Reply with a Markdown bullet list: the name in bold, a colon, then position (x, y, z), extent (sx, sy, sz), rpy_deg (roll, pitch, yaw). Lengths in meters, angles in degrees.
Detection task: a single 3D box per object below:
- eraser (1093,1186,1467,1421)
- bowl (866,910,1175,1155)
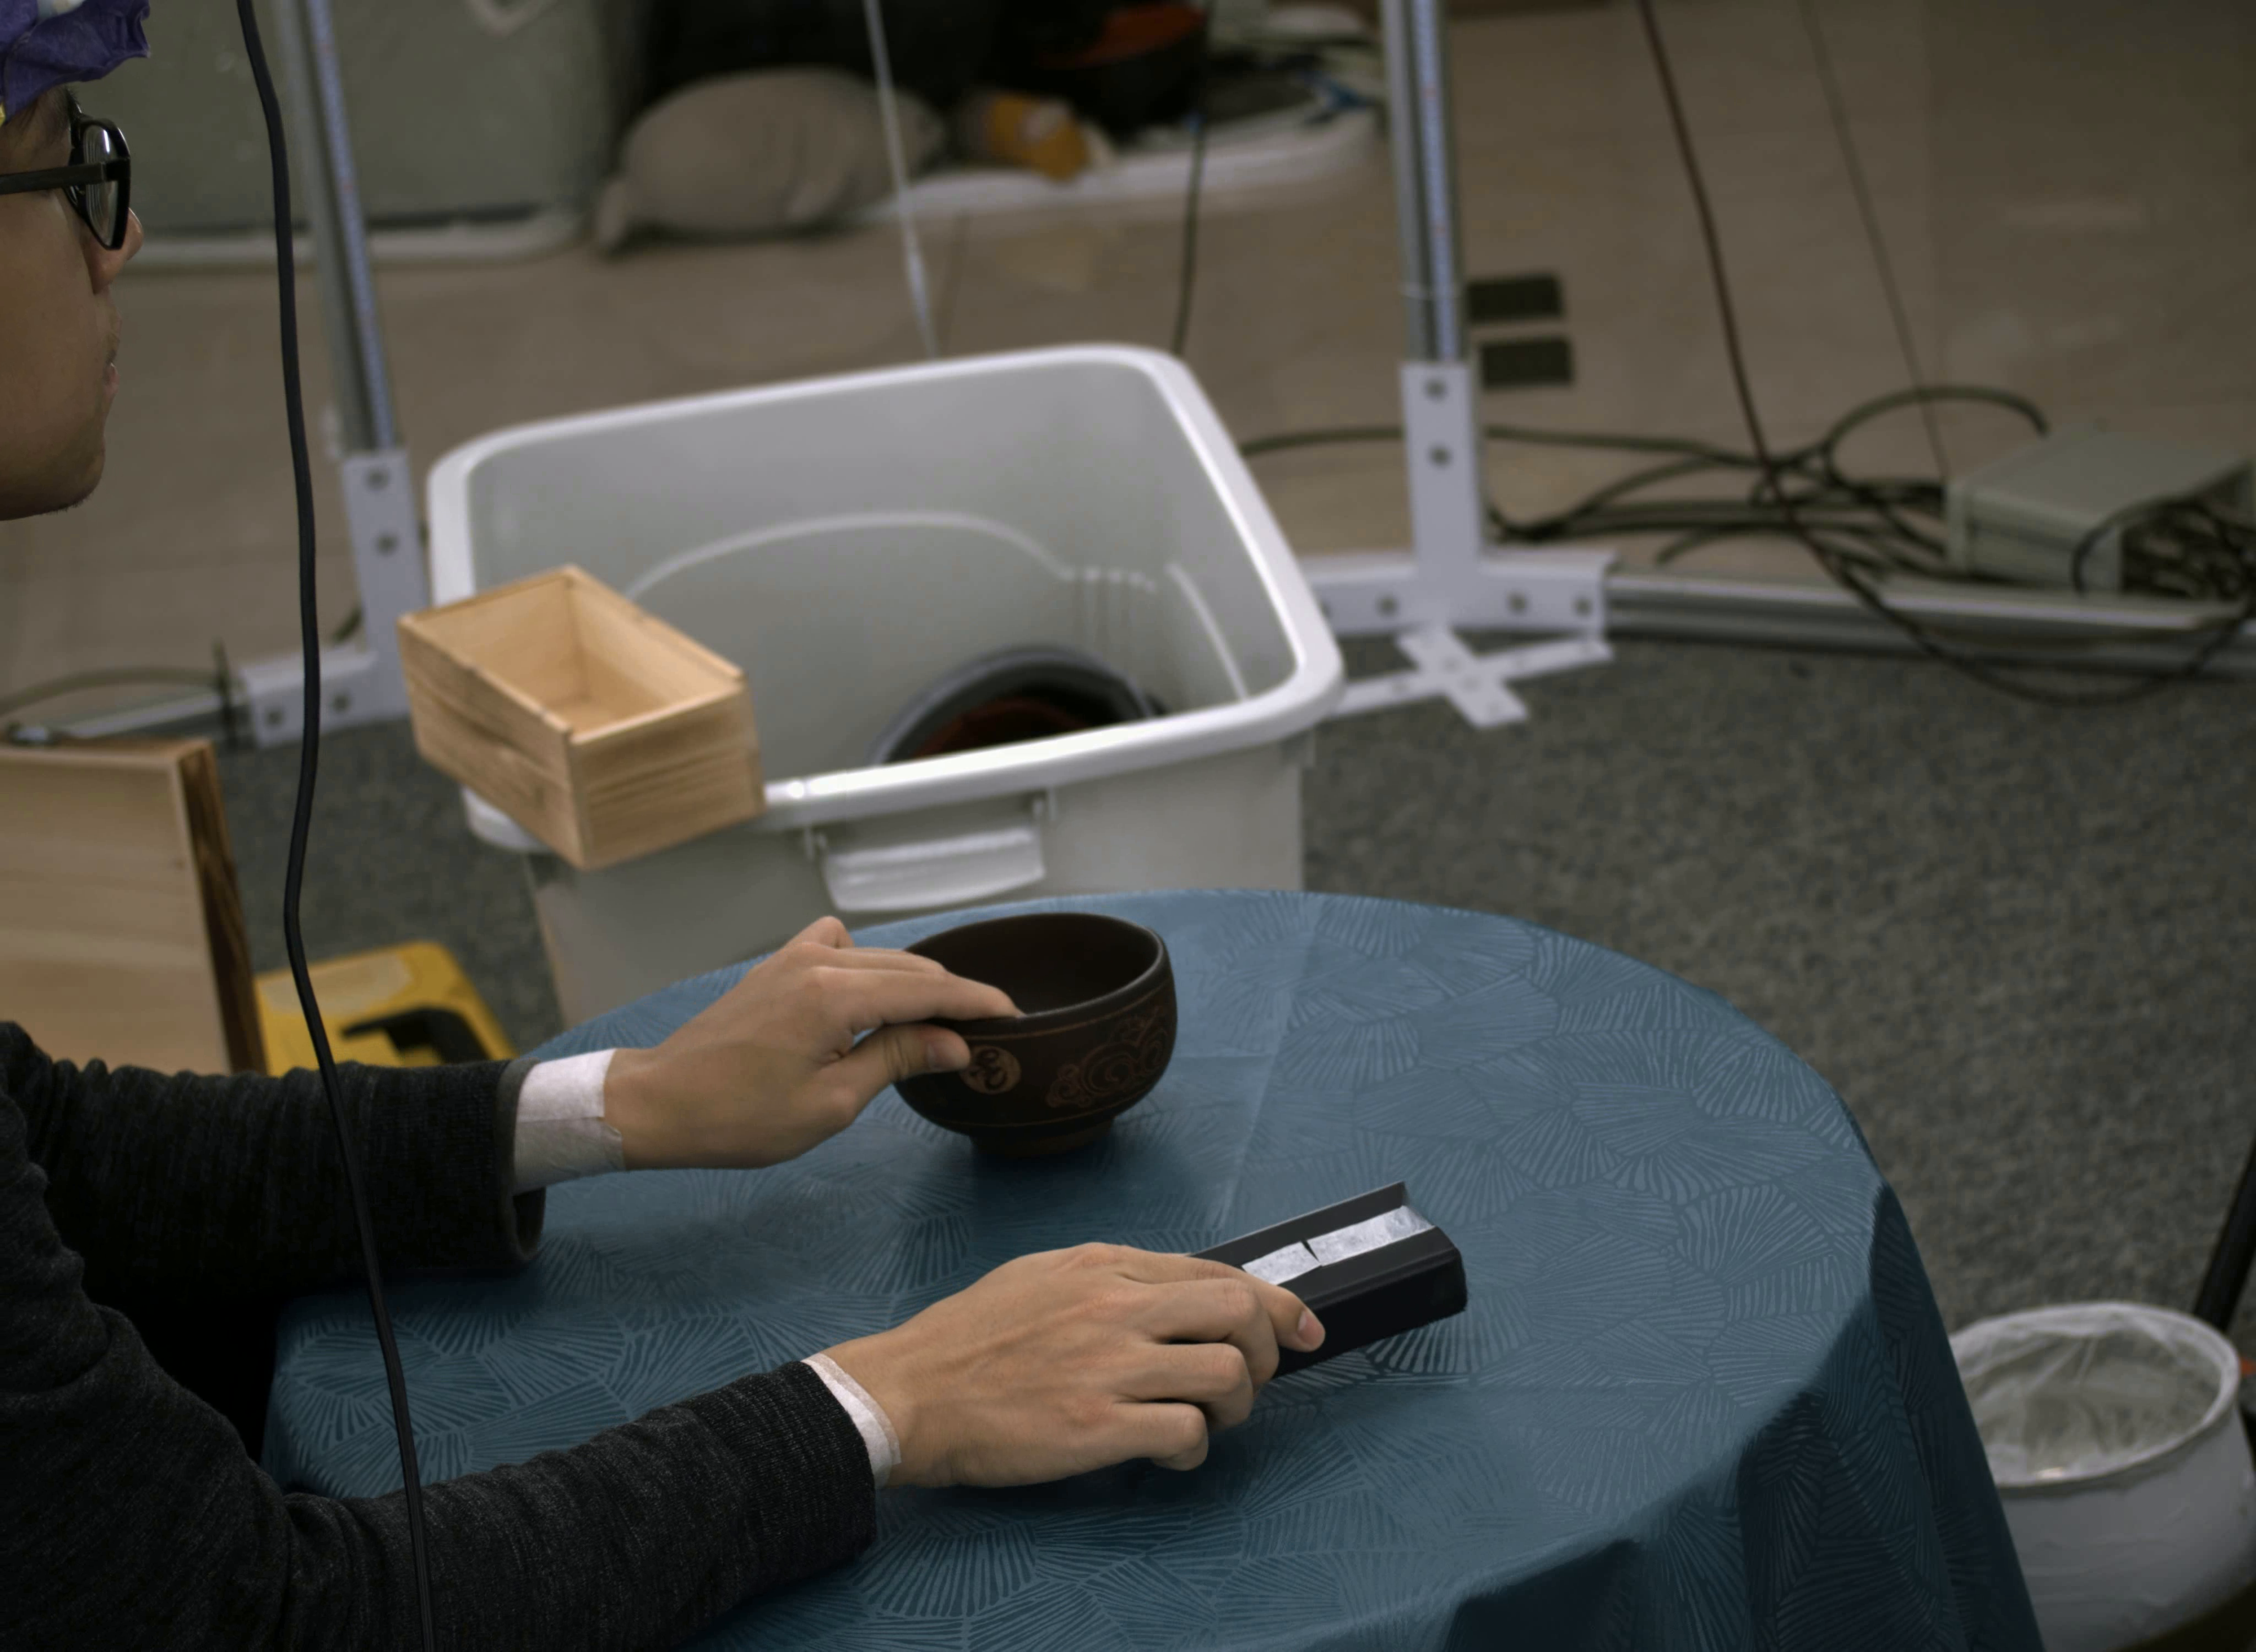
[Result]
- **eraser**: position (0.054, 0.166, 1.995), extent (0.125, 0.031, 0.053), rpy_deg (-19, 34, -18)
- **bowl**: position (-0.039, 0.084, 2.183), extent (0.118, 0.071, 0.116), rpy_deg (-7, 20, 3)
